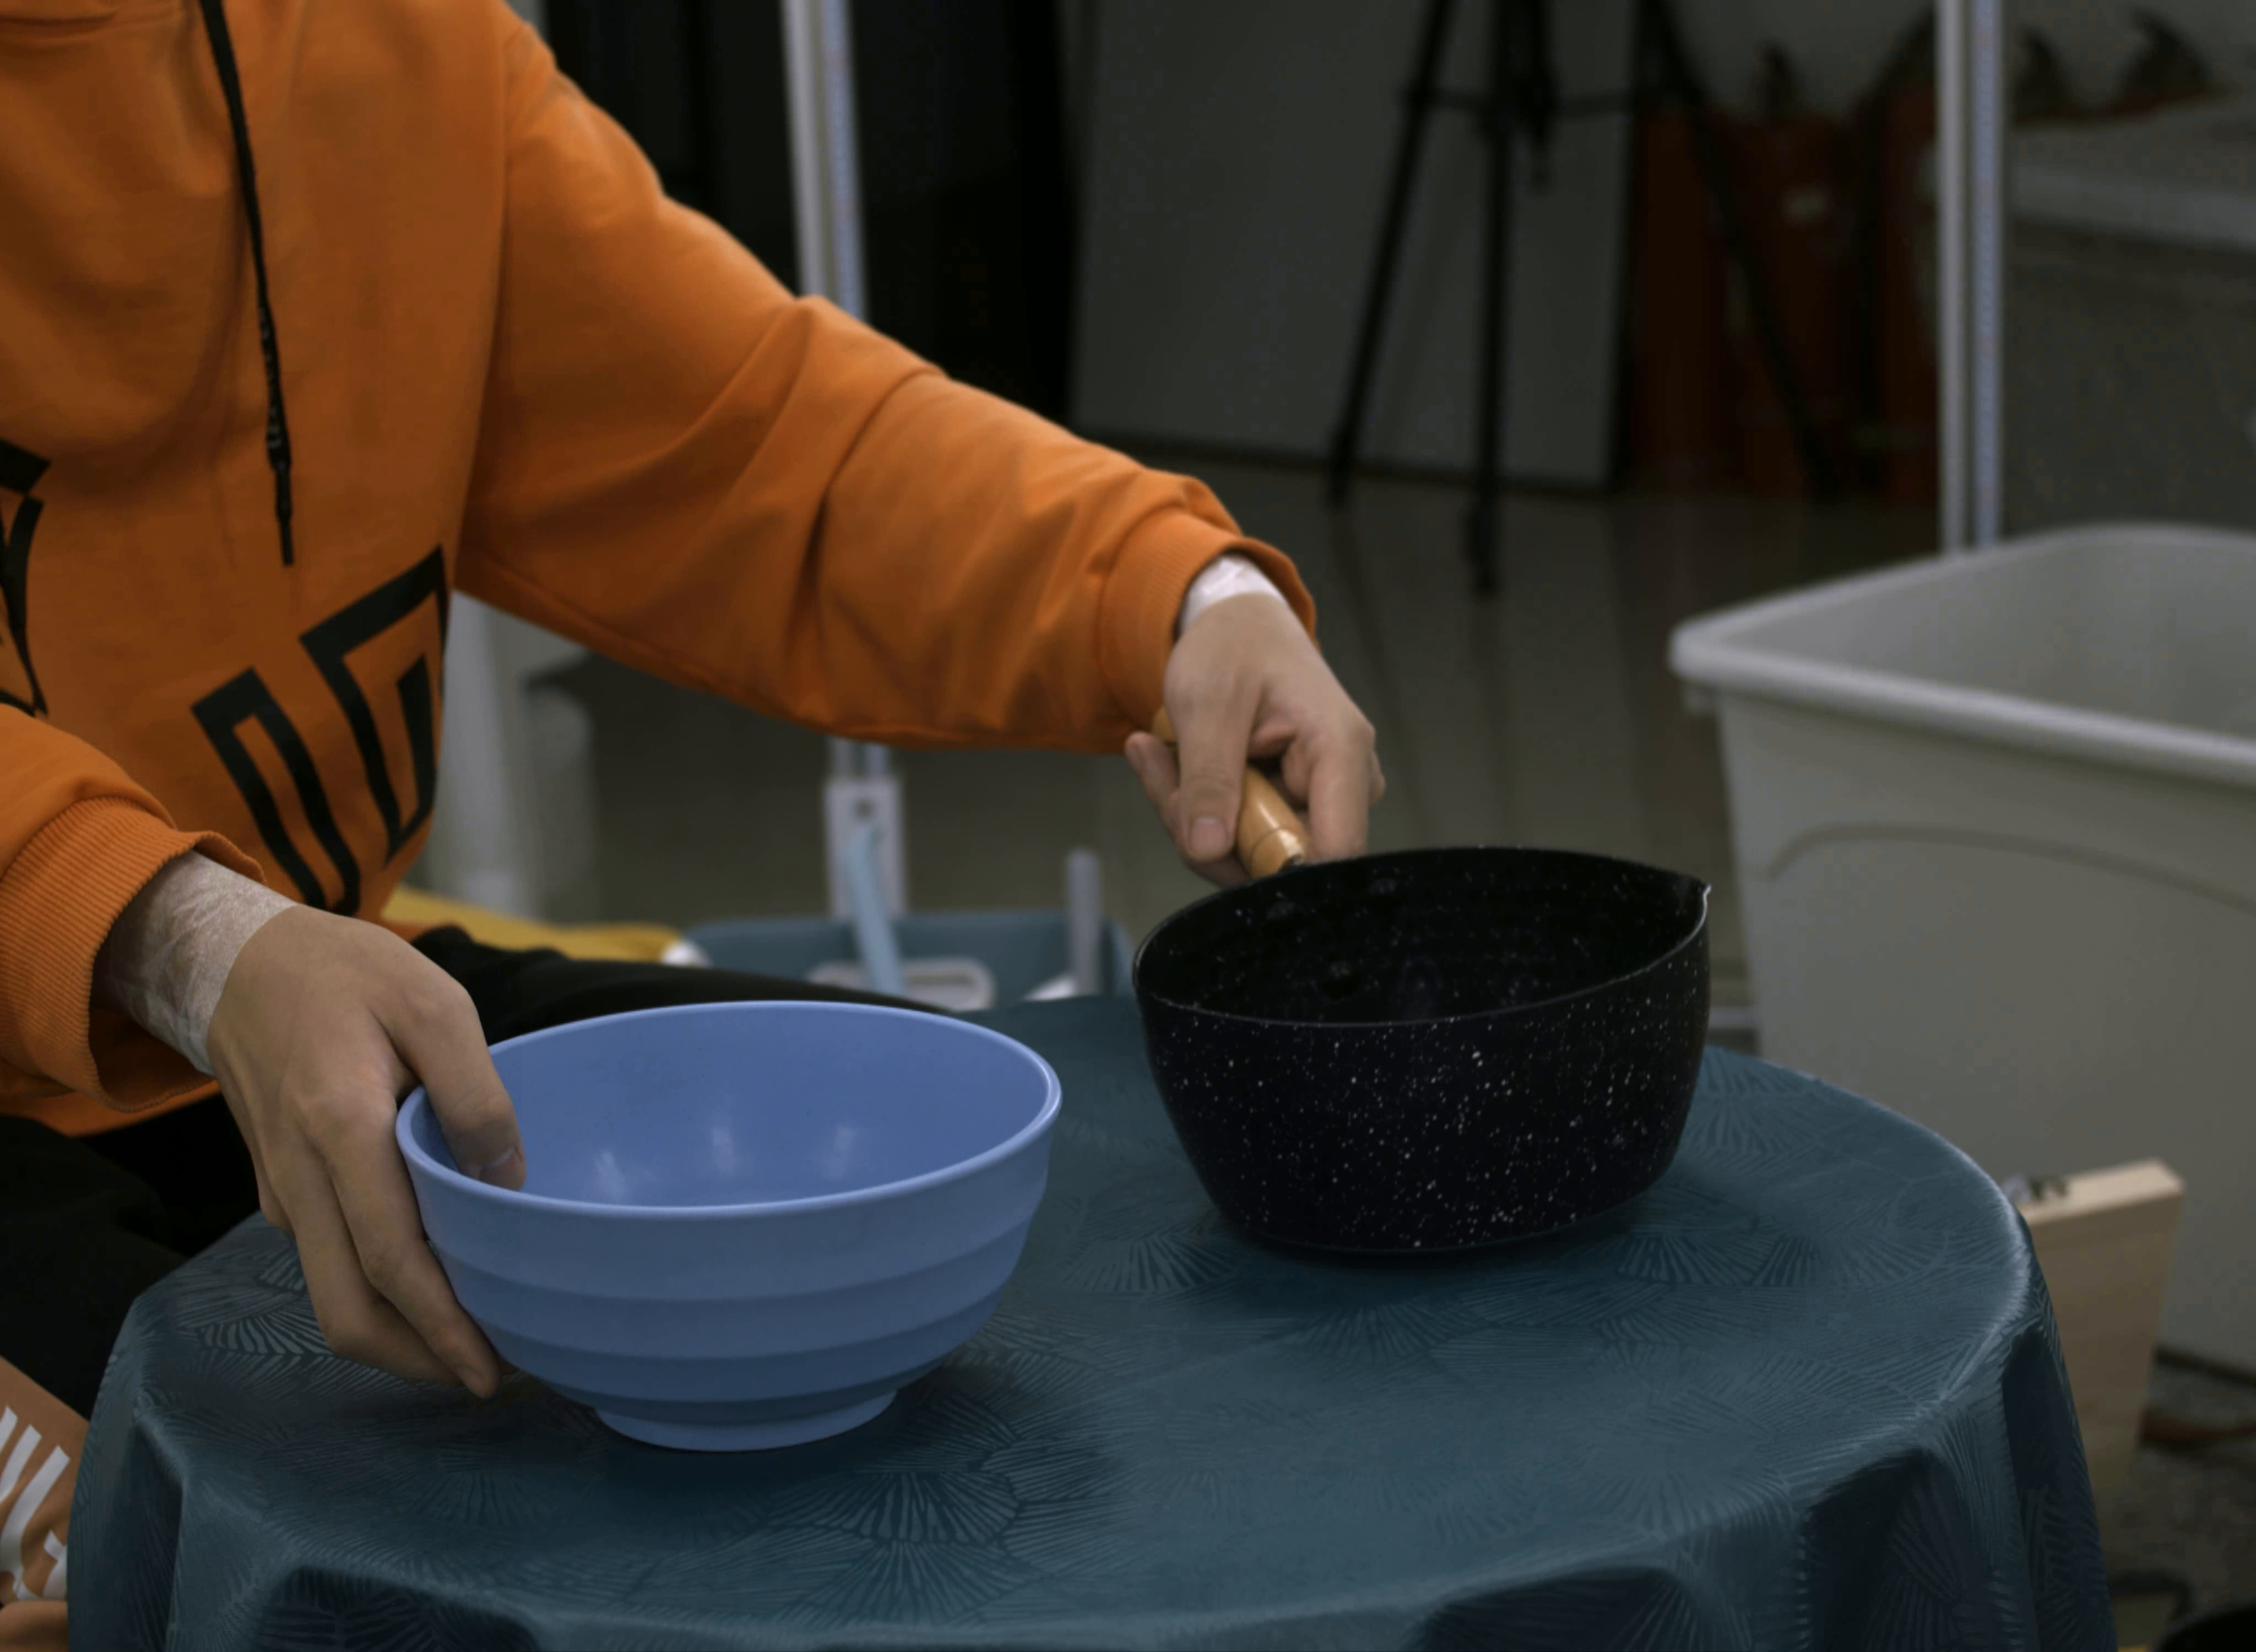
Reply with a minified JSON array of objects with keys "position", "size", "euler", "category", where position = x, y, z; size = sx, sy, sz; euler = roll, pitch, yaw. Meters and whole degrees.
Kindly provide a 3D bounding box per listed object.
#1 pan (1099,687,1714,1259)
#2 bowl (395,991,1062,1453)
[{"position":[0.072,0.043,1.797],"size":[0.203,0.109,0.346],"euler":[-12,17,-15],"category":"pan"},{"position":[-0.115,0.122,1.589],"size":[0.194,0.096,0.197],"euler":[-2,16,0],"category":"bowl"}]
